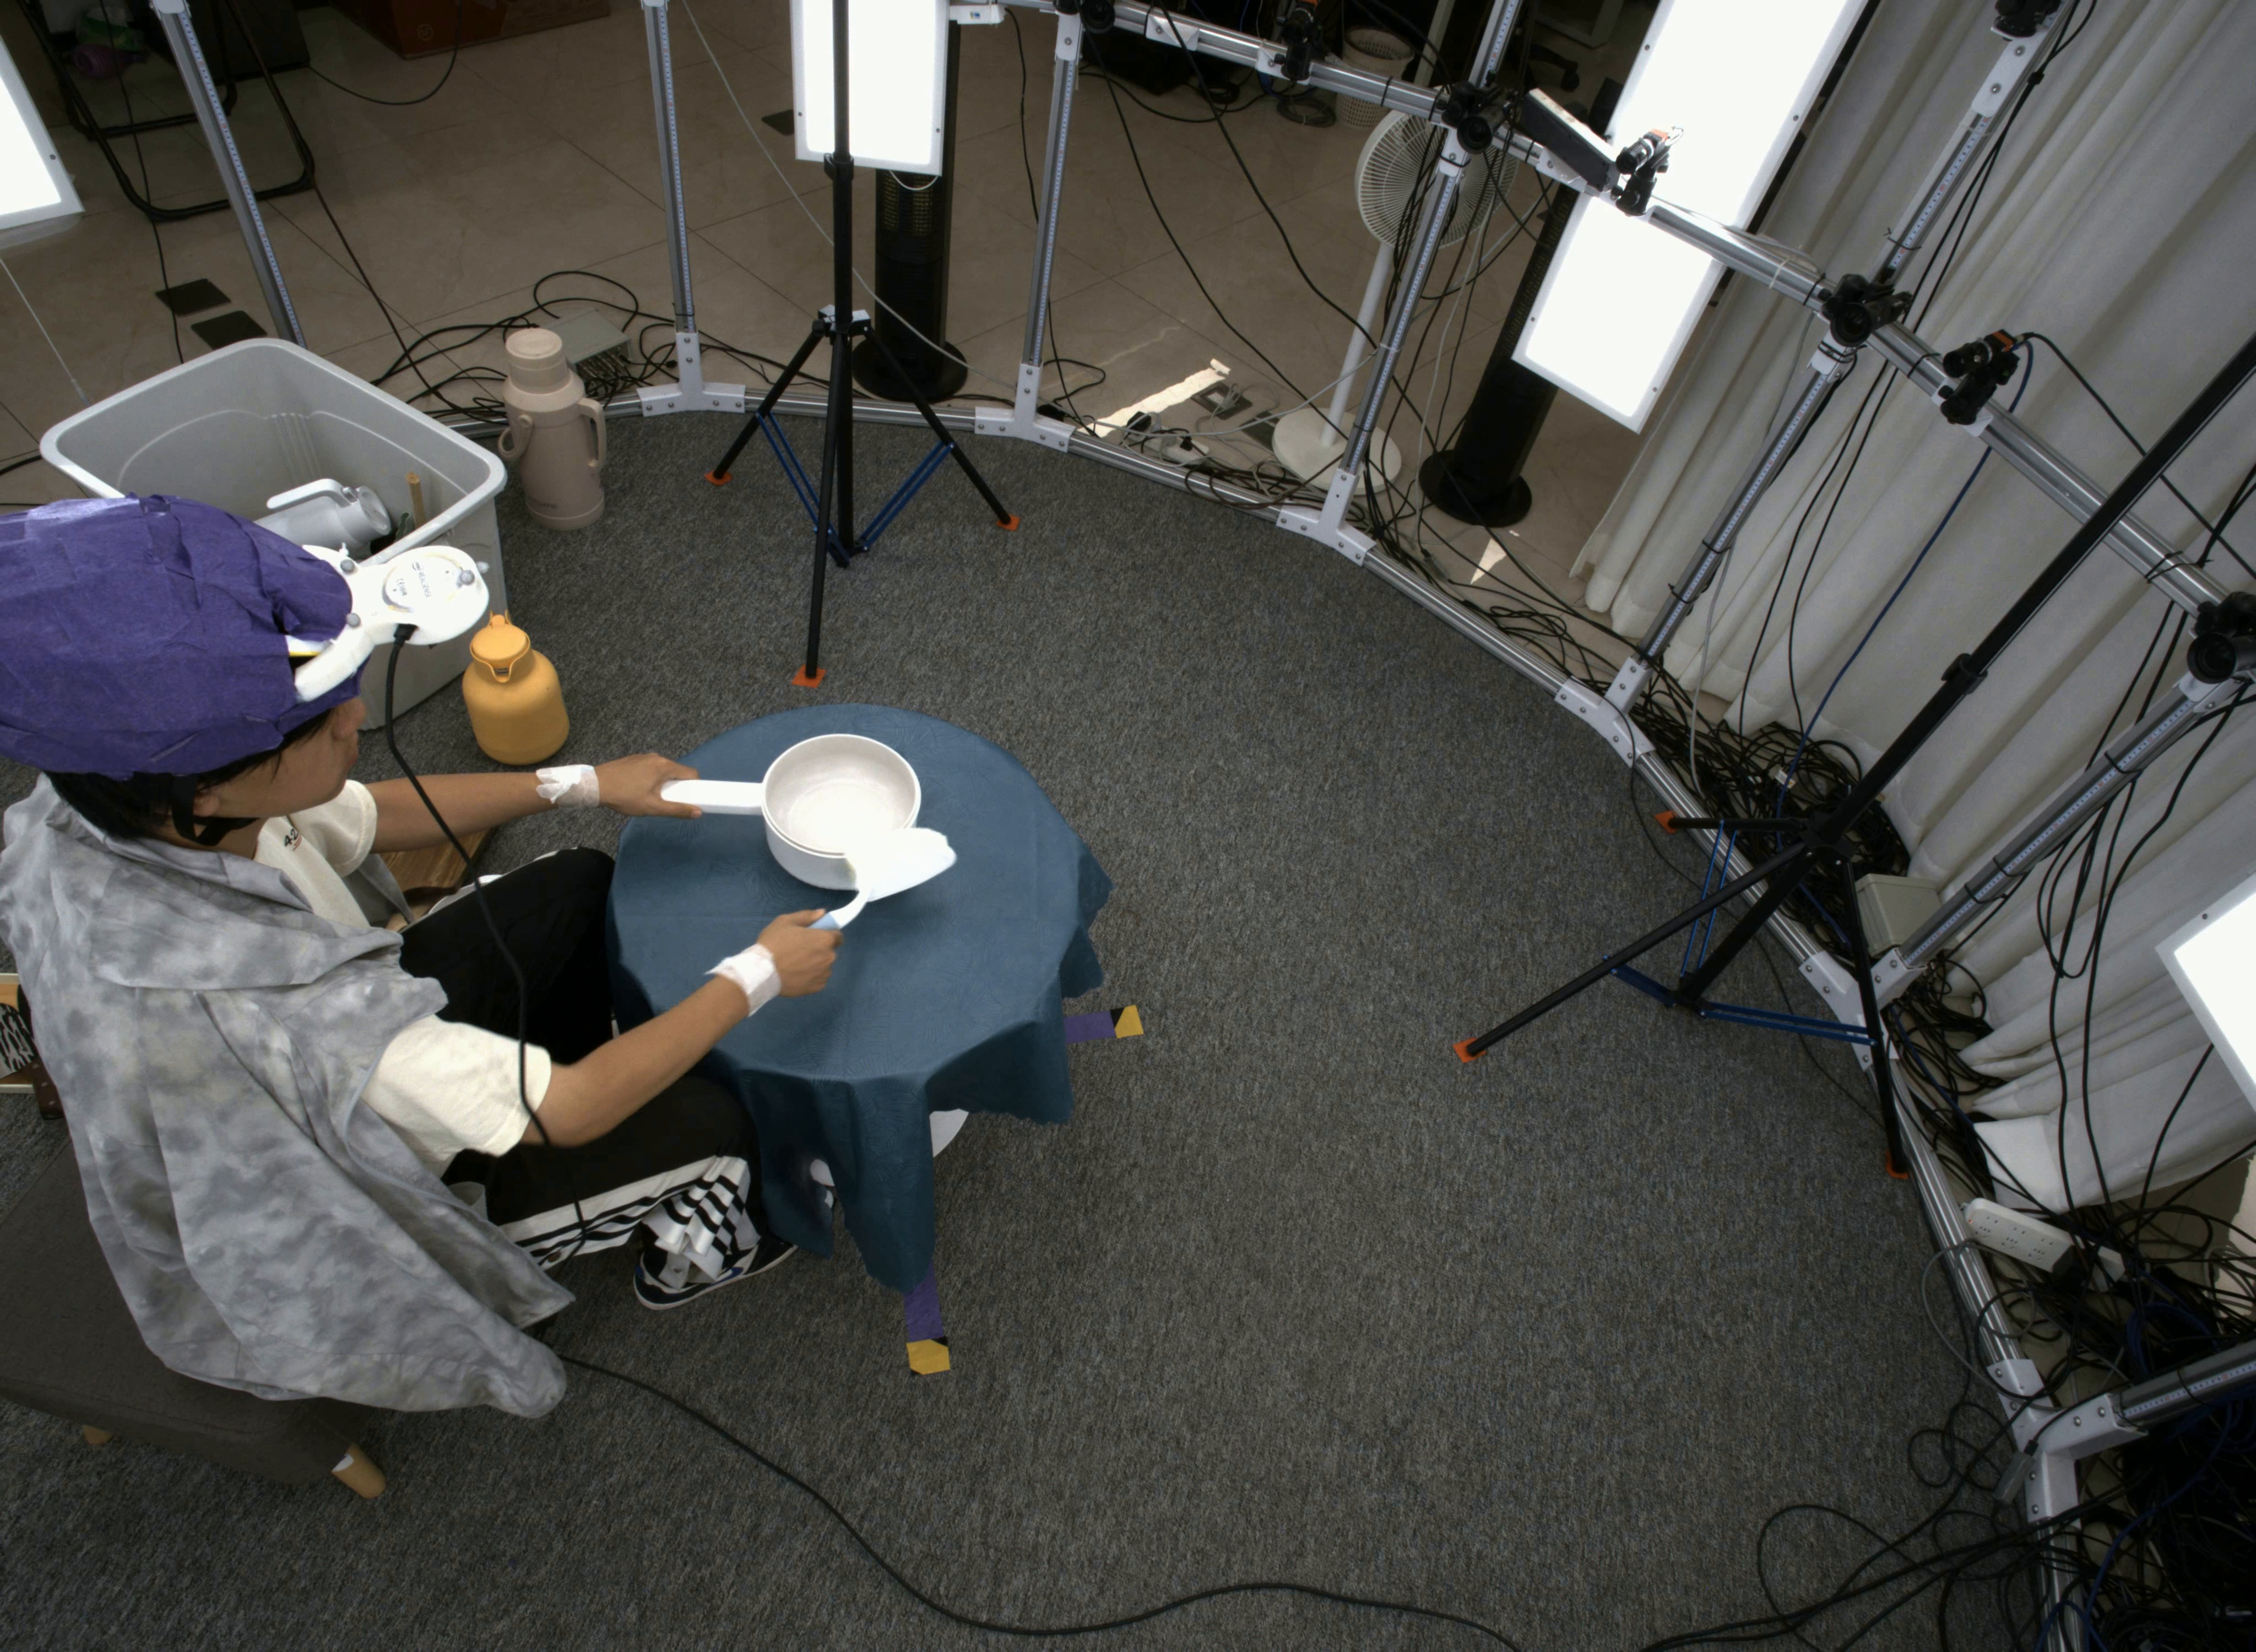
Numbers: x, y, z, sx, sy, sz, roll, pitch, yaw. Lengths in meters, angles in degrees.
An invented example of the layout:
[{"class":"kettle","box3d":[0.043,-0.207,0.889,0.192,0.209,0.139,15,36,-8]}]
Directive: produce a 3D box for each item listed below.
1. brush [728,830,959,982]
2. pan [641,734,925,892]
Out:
[{"class":"brush","box3d":[-0.350,0.082,1.562,0.327,0.082,0.085,-29,103,-34]},{"class":"pan","box3d":[-0.440,-0.016,1.668,0.355,0.104,0.197,2,53,-12]}]
